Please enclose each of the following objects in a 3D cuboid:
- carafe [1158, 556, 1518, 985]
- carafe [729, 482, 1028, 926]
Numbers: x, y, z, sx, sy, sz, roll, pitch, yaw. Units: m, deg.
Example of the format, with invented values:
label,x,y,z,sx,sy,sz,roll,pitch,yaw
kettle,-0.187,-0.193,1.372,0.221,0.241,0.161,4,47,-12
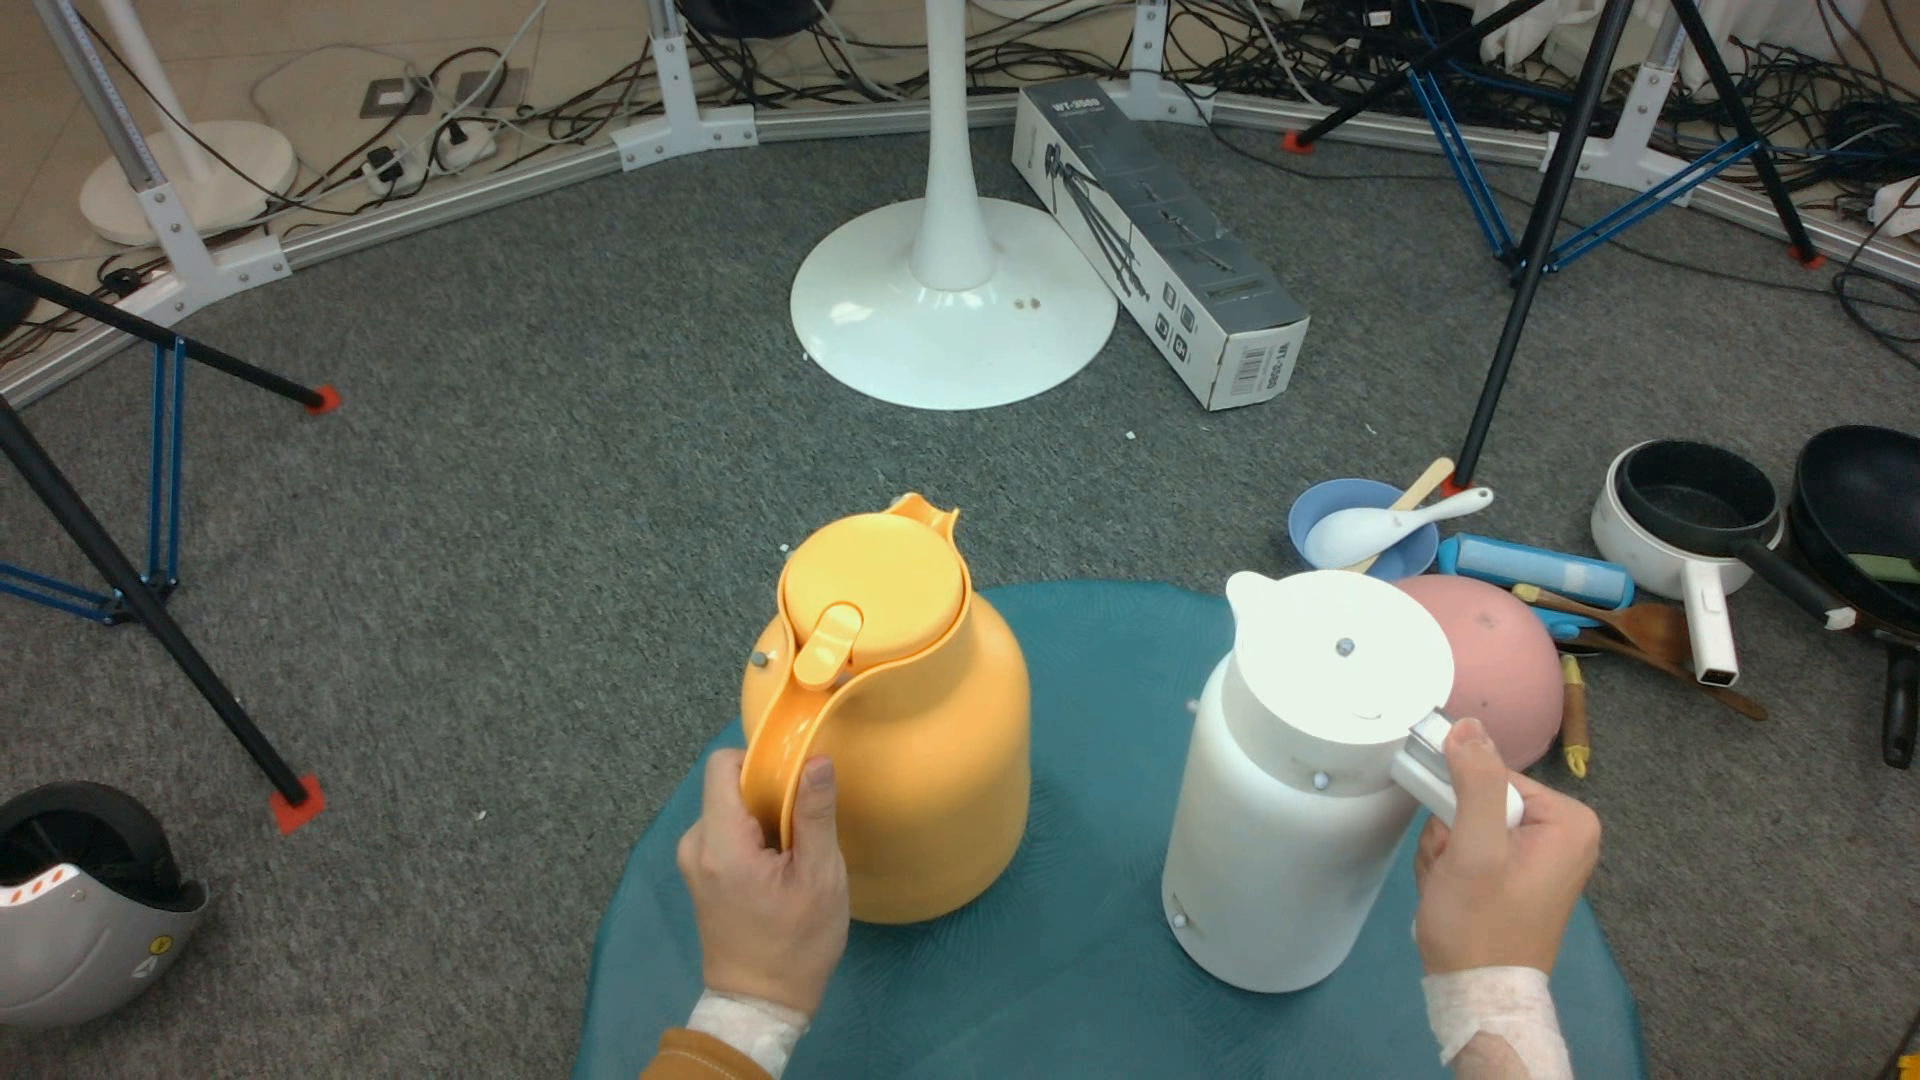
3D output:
label,x,y,z,sx,sy,sz,roll,pitch,yaw
carafe,0.188,0.141,0.726,0.124,0.267,0.173,-32,57,-26
carafe,-0.053,0.106,0.758,0.163,0.259,0.203,20,52,20
